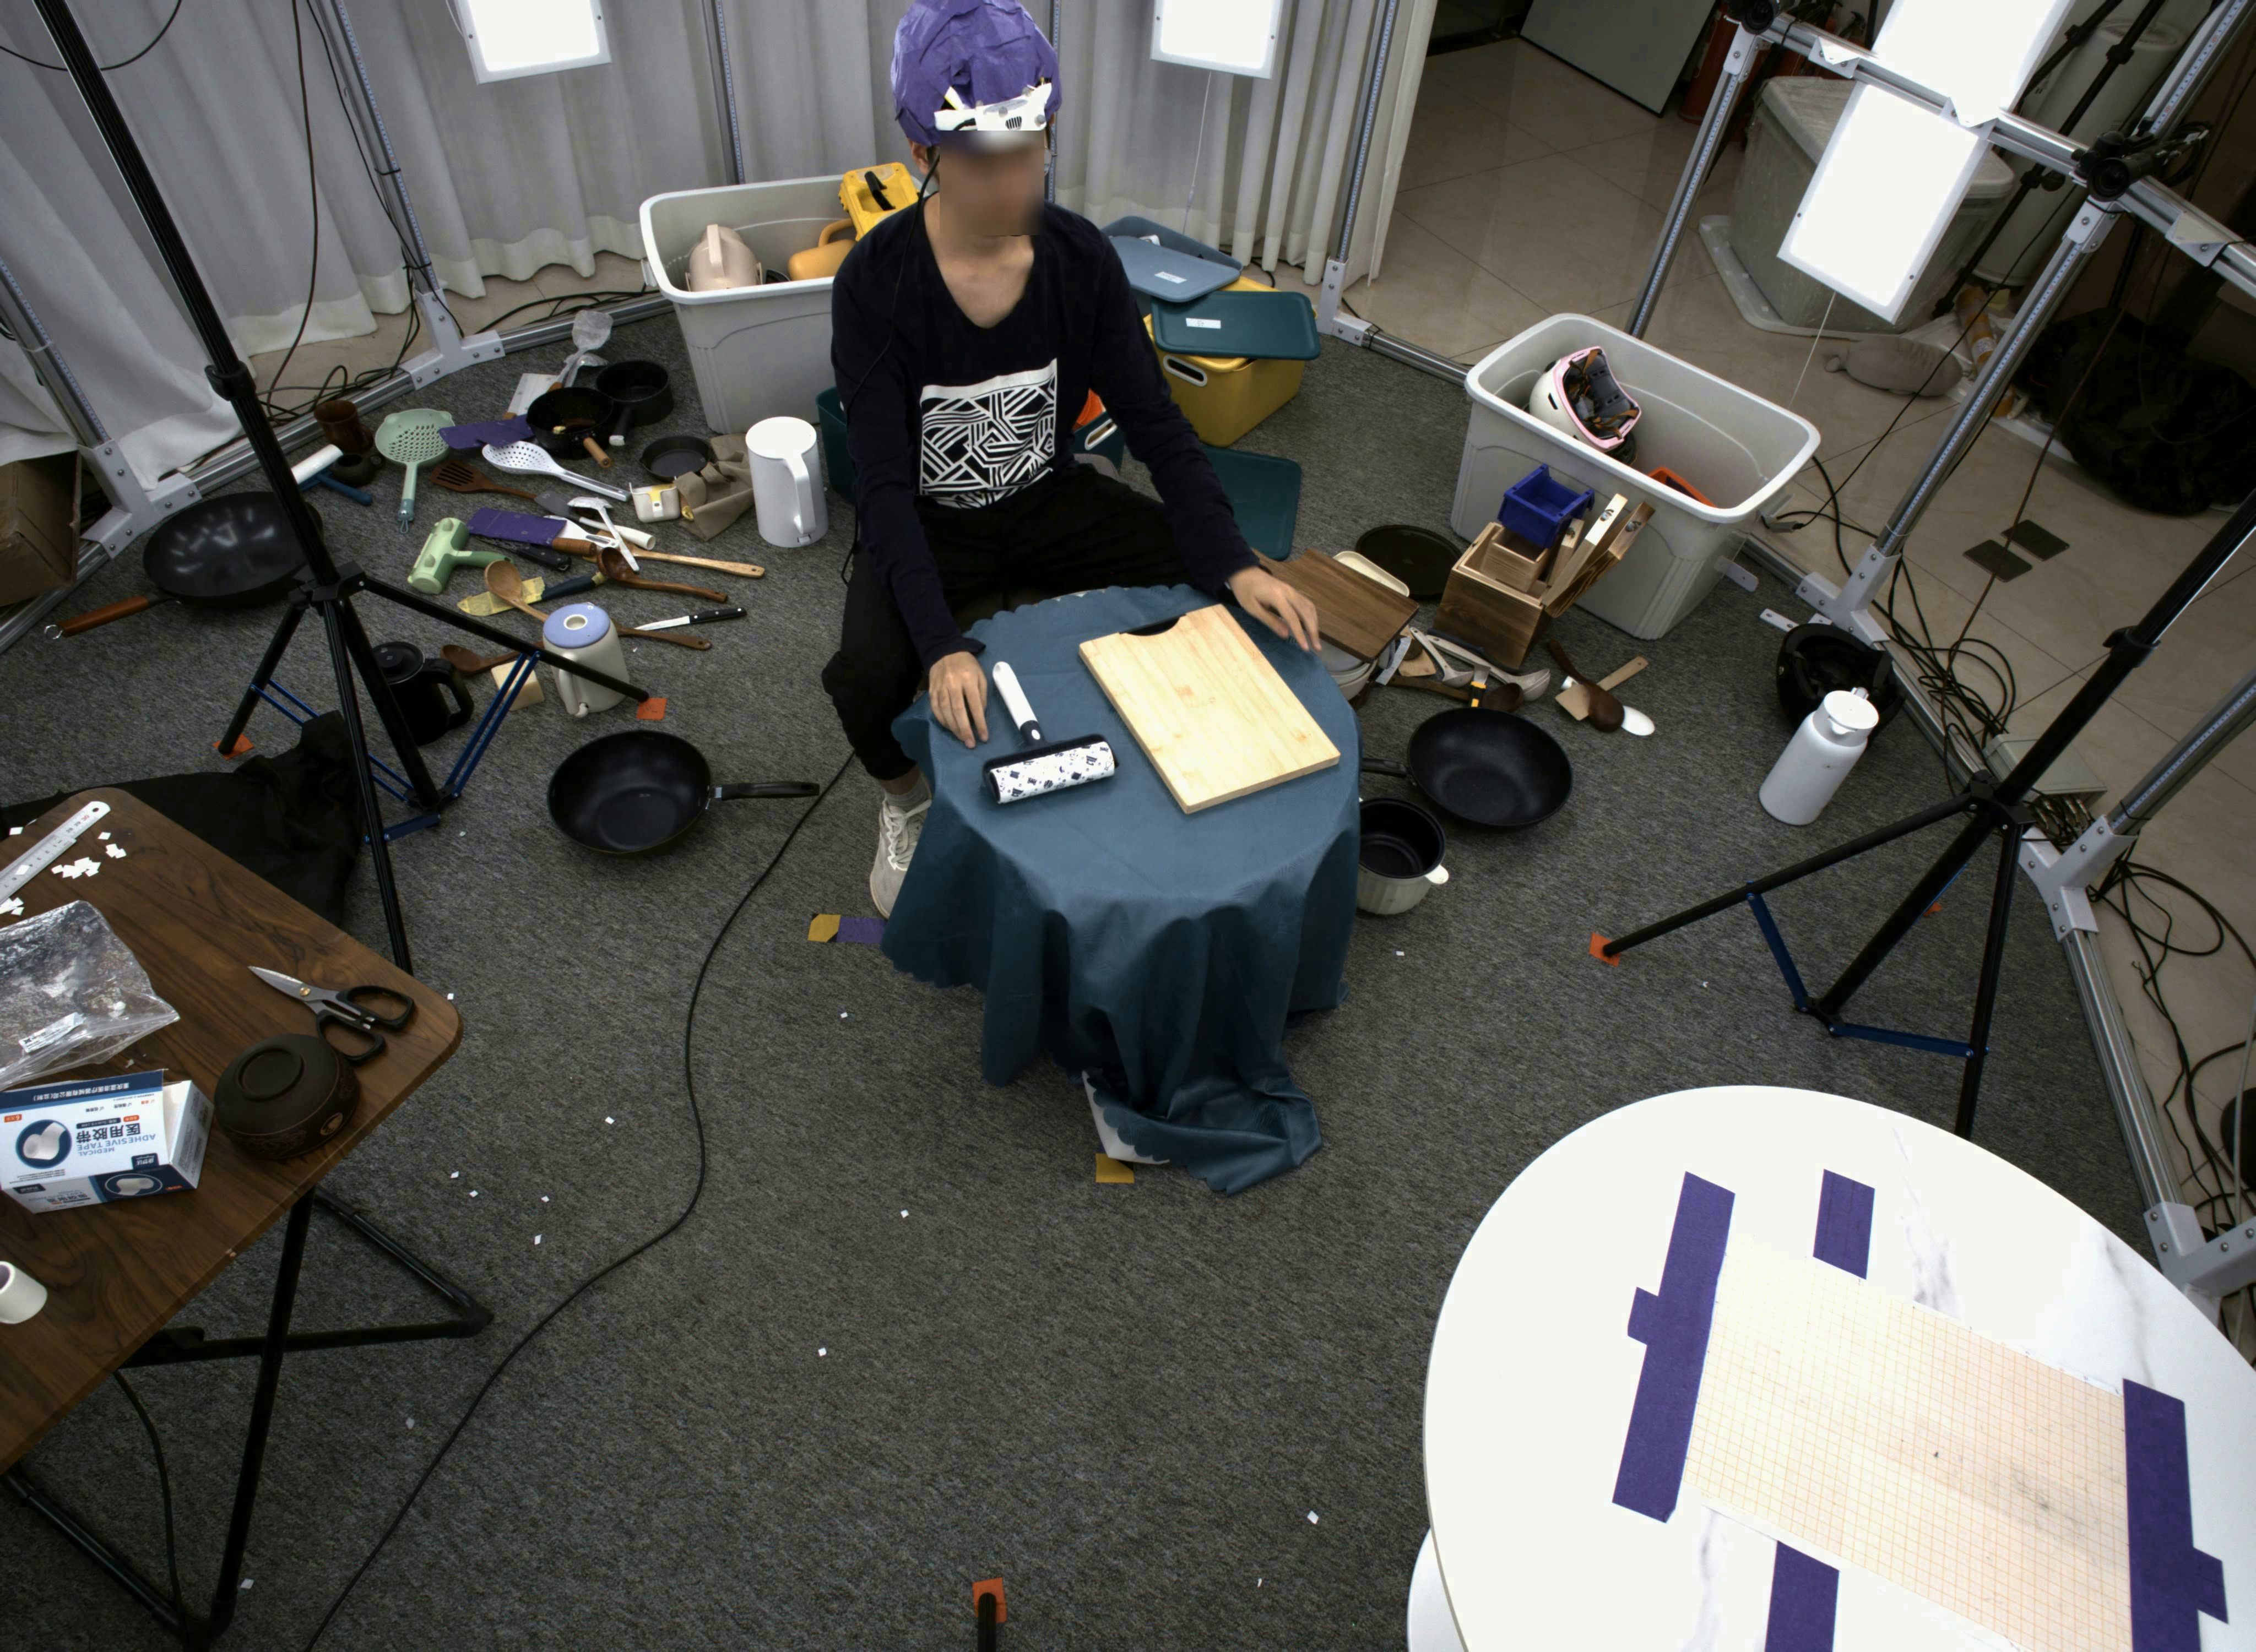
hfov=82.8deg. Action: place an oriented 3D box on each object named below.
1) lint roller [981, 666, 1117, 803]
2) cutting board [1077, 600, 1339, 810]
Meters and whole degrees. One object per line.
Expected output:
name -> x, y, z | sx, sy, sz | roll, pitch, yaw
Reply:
lint roller -> -0.140, -0.142, 1.755 | 0.176, 0.049, 0.253 | -16, 50, -16
cutting board -> 0.107, -0.179, 1.820 | 0.251, 0.023, 0.356 | -18, 53, -19
